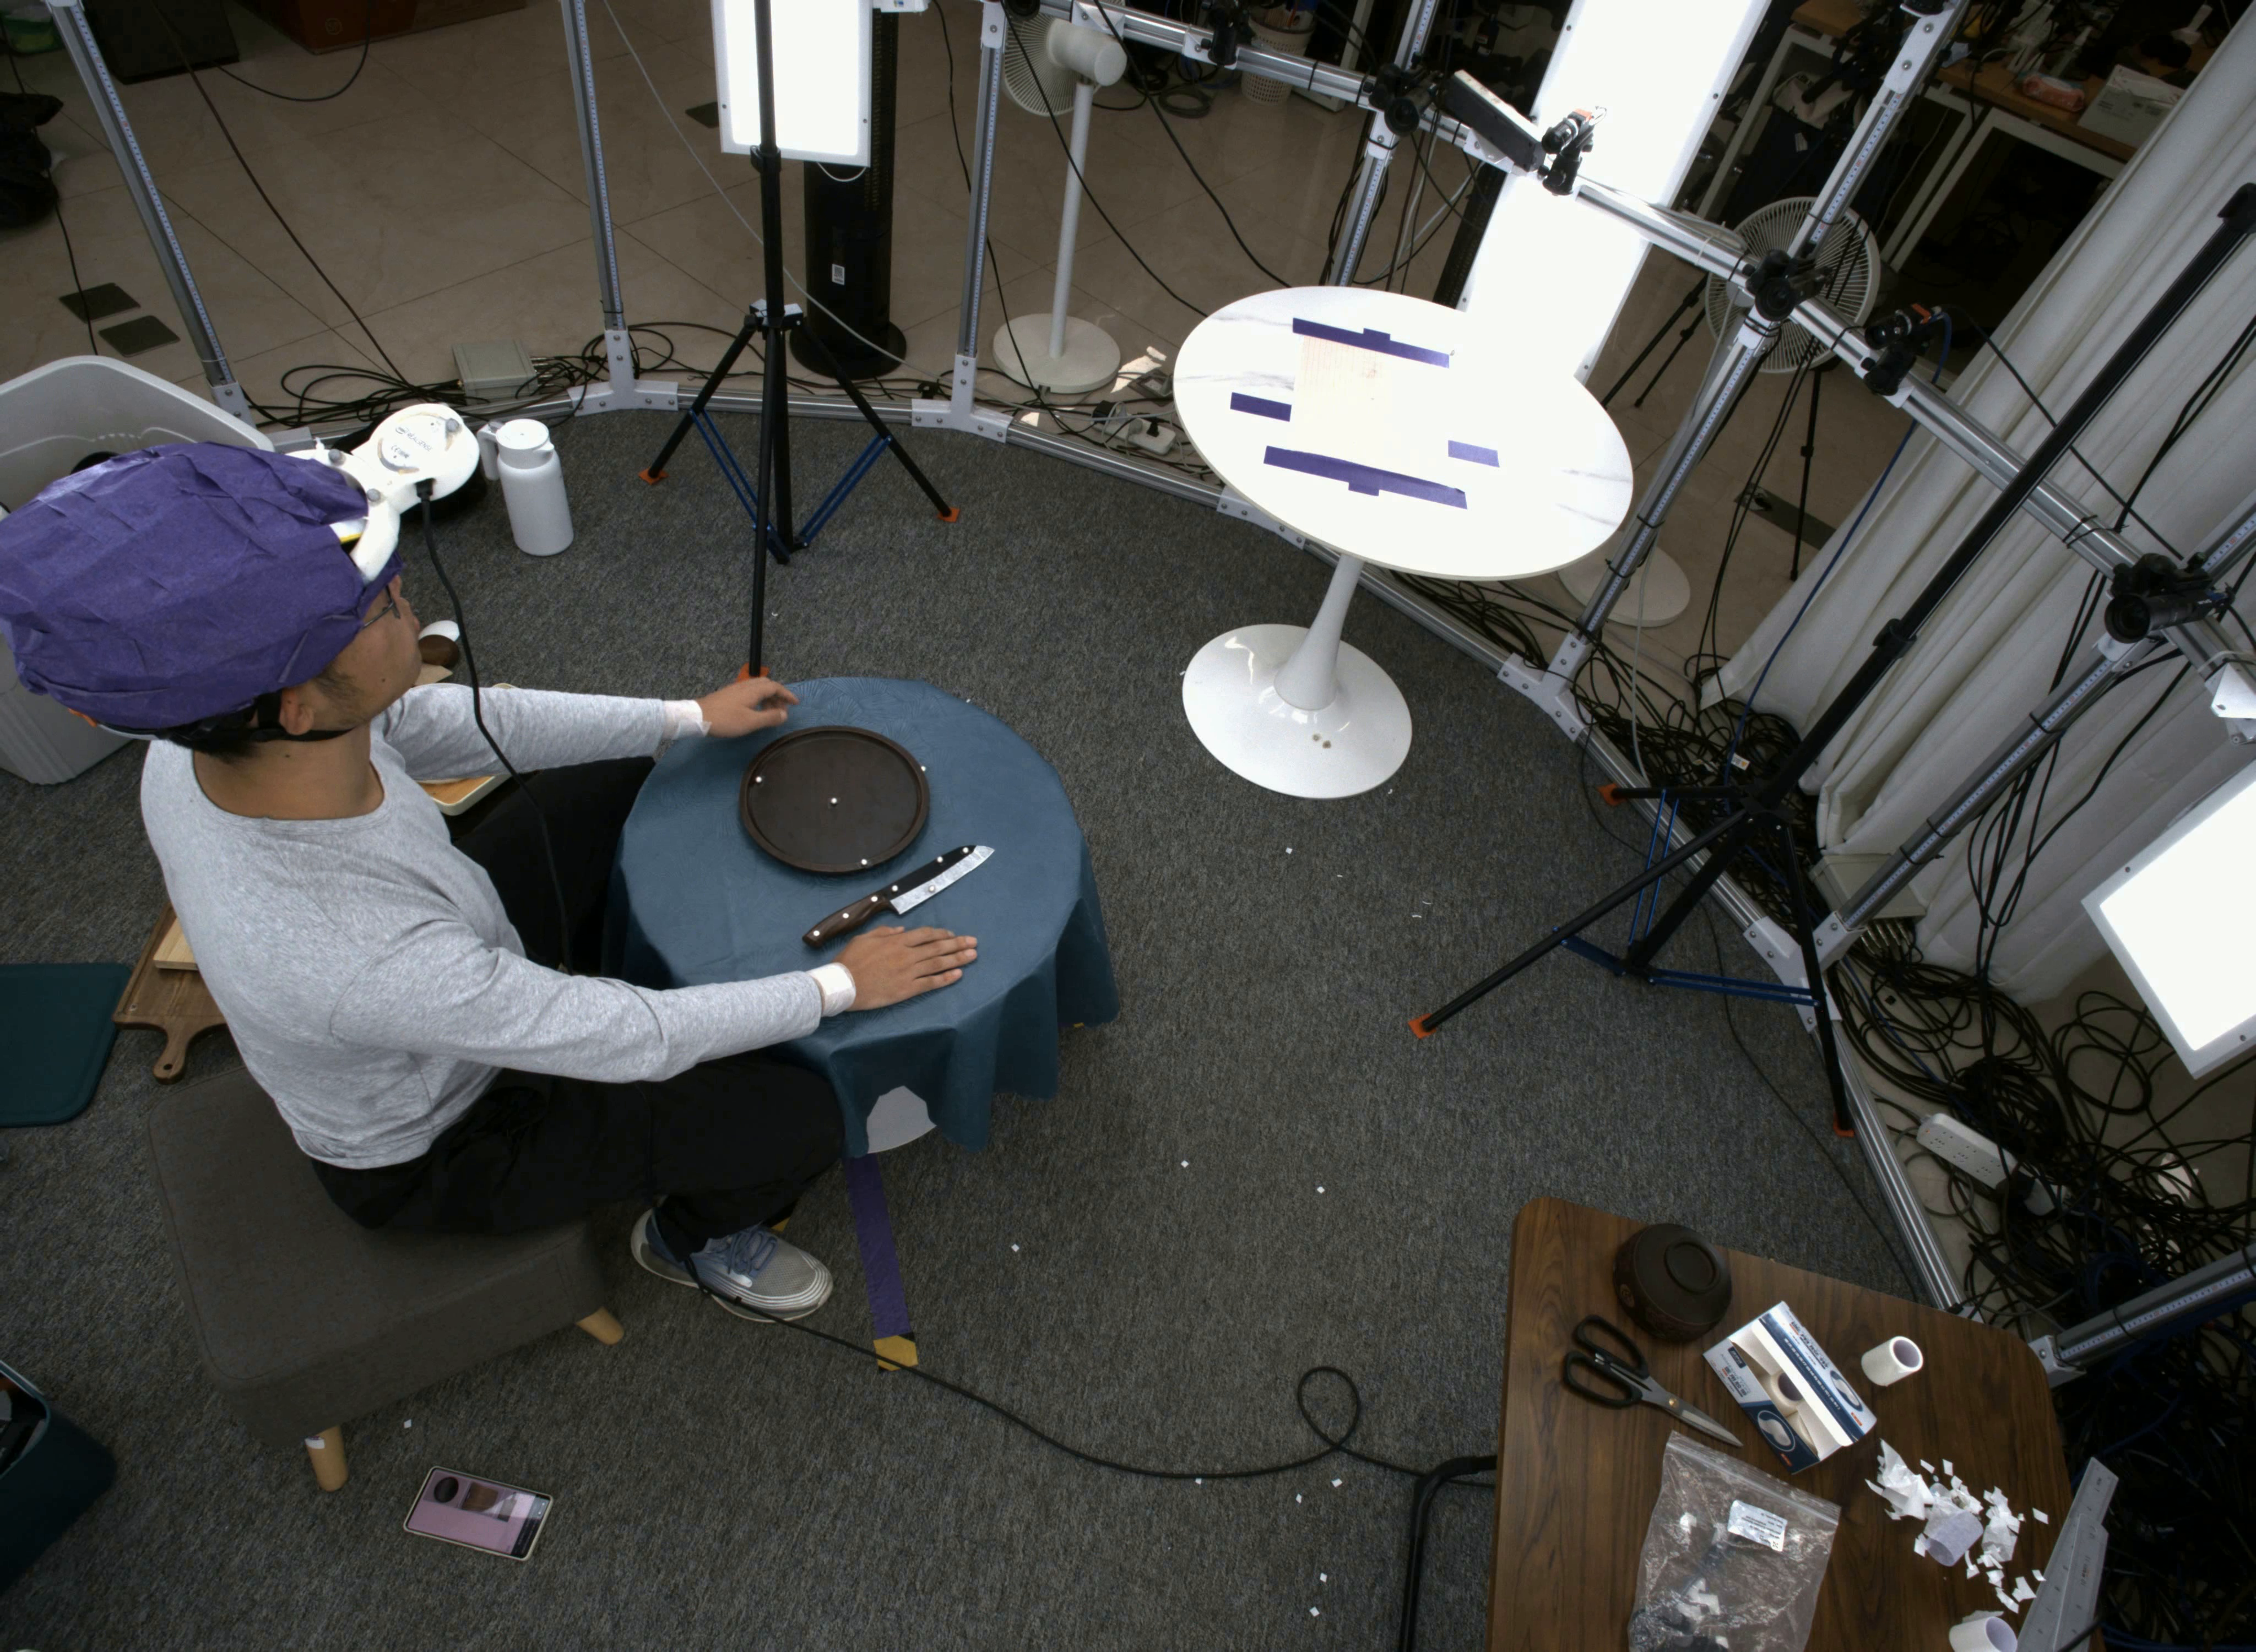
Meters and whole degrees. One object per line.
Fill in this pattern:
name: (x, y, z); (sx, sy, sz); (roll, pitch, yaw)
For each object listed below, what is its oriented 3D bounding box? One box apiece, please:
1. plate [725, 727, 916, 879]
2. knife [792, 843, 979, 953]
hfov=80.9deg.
plate: (-0.413, -0.033, 1.747); (0.254, 0.029, 0.250); (8, 55, -9)
knife: (-0.309, 0.088, 1.690); (0.290, 0.020, 0.049); (-30, 71, -33)
